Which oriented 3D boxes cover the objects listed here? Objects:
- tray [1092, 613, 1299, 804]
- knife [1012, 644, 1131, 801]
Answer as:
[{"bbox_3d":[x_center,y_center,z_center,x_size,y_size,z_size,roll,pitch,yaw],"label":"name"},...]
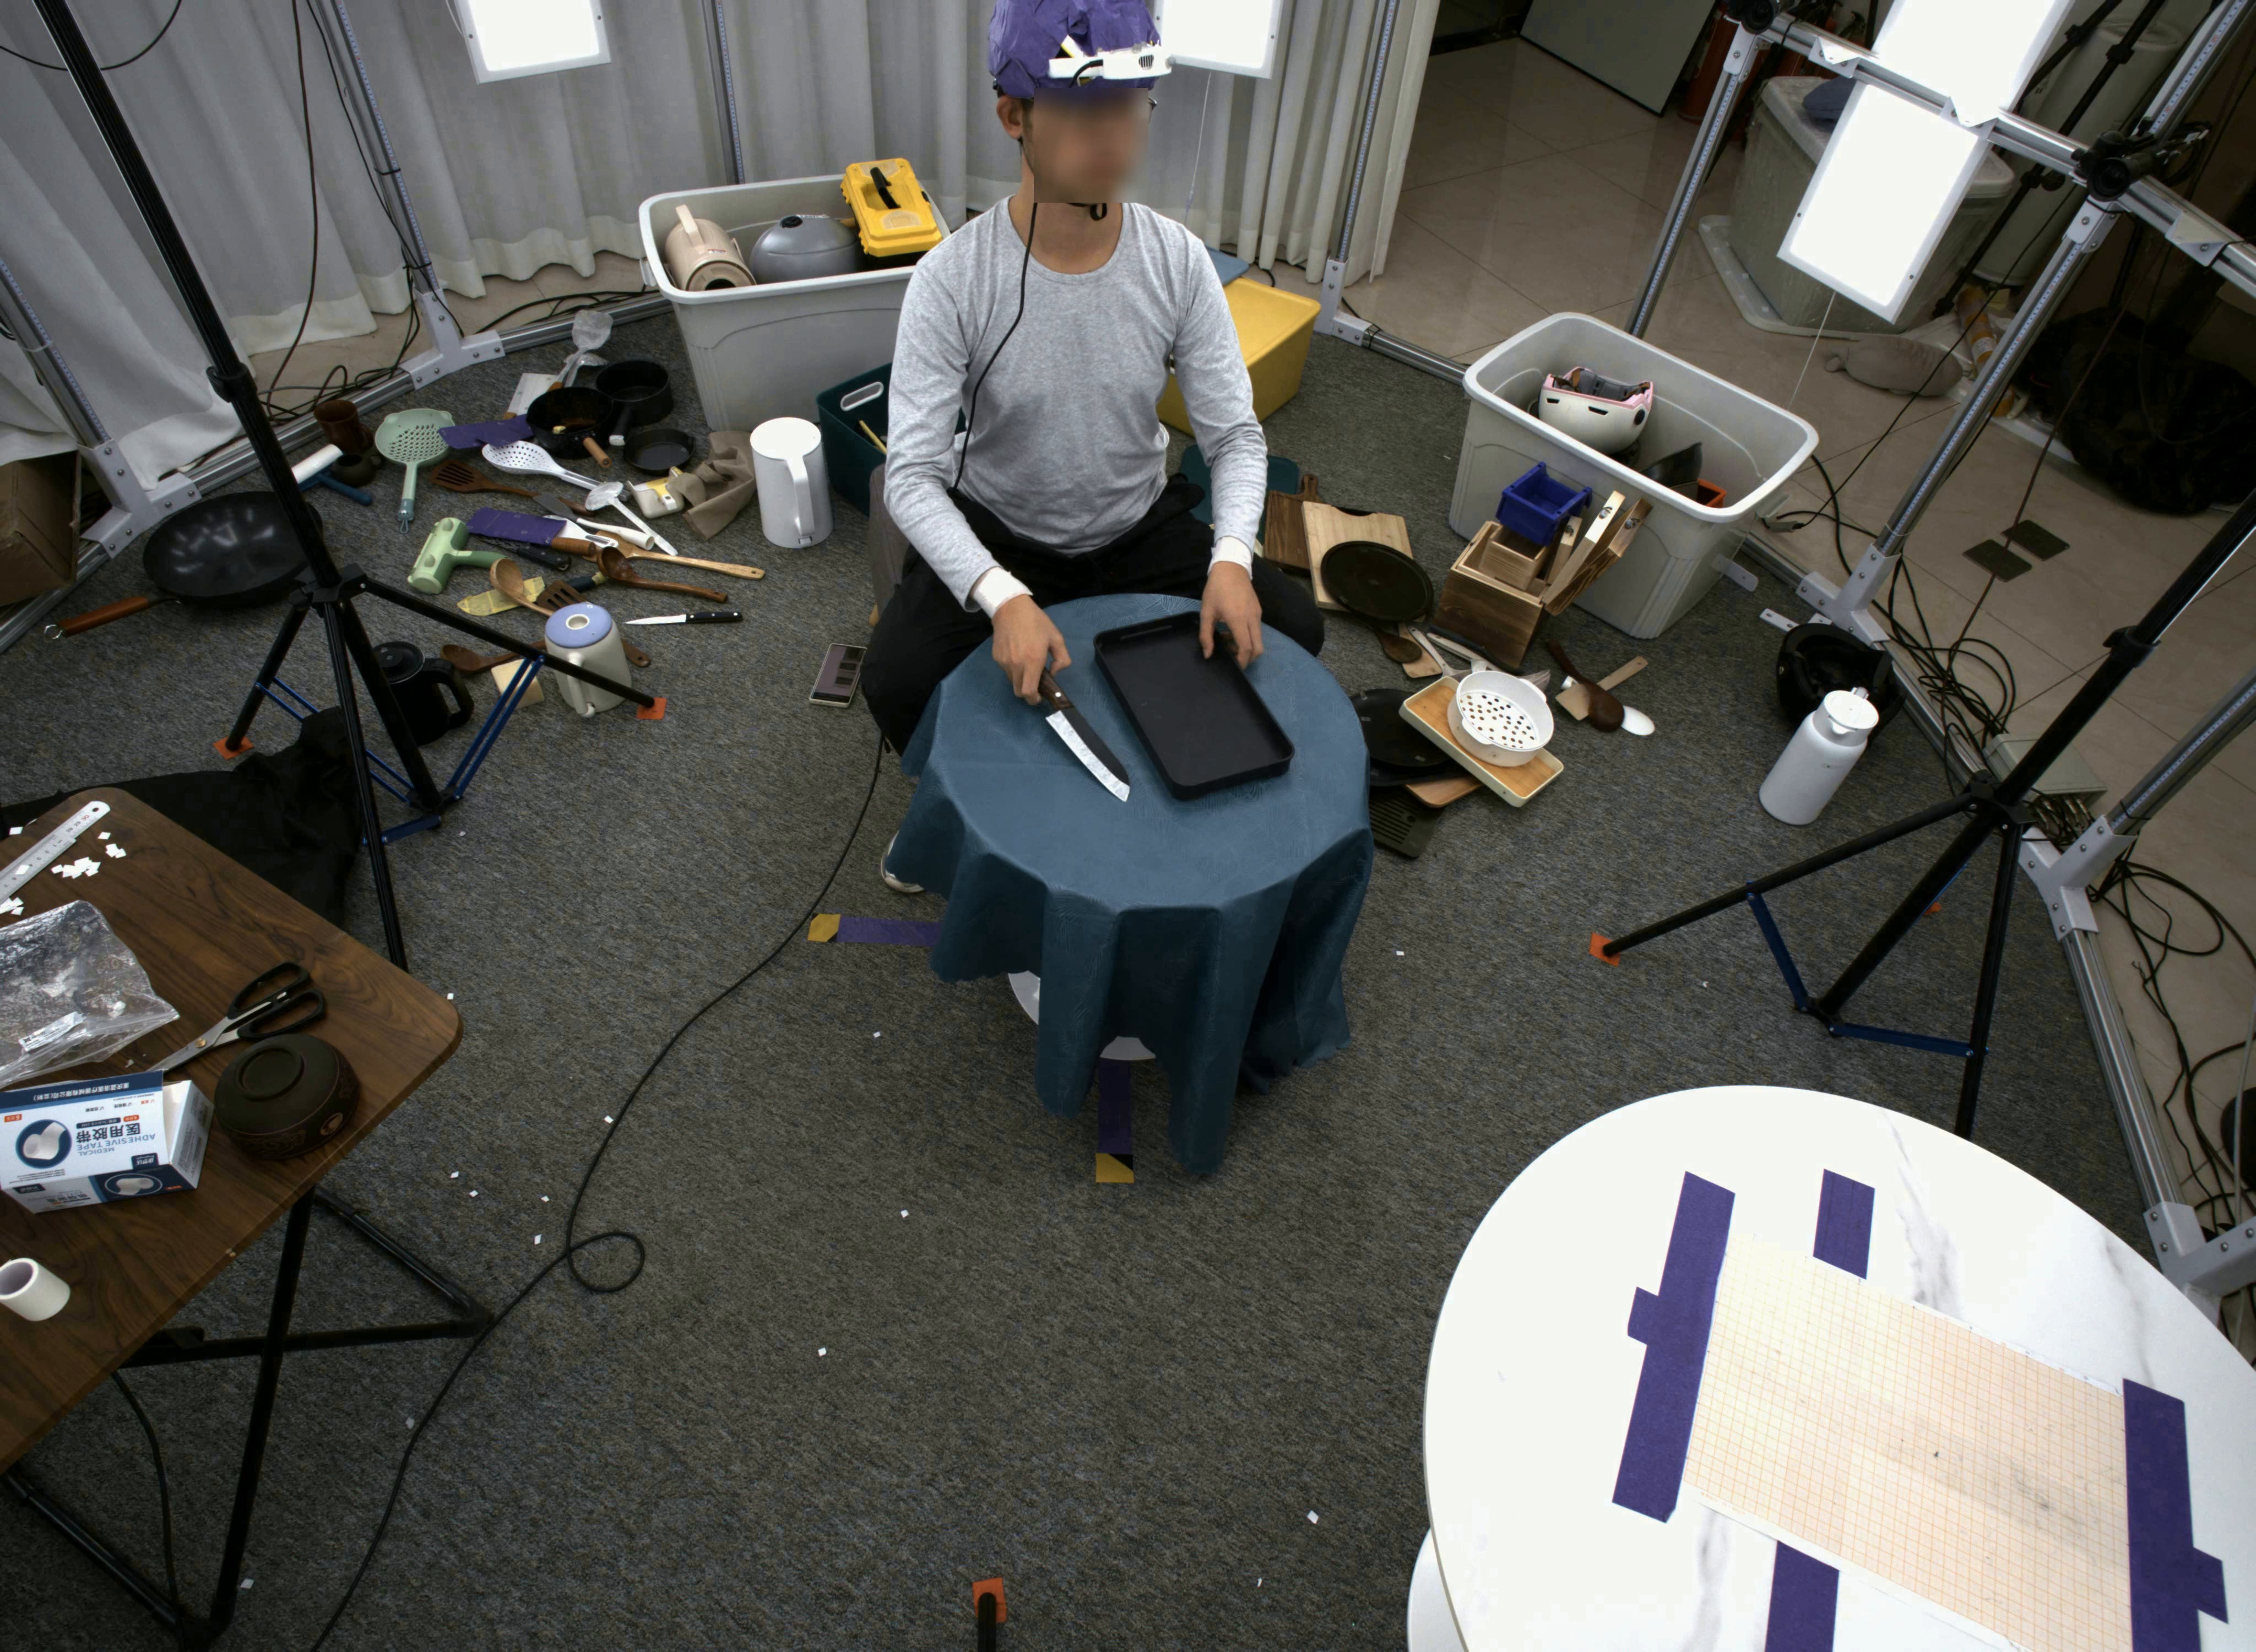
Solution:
[{"bbox_3d":[0.089,-0.171,1.799,0.184,0.036,0.325,-17,52,-18],"label":"tray"},{"bbox_3d":[-0.078,-0.143,1.755,0.050,0.019,0.294,-28,65,-17],"label":"knife"}]
